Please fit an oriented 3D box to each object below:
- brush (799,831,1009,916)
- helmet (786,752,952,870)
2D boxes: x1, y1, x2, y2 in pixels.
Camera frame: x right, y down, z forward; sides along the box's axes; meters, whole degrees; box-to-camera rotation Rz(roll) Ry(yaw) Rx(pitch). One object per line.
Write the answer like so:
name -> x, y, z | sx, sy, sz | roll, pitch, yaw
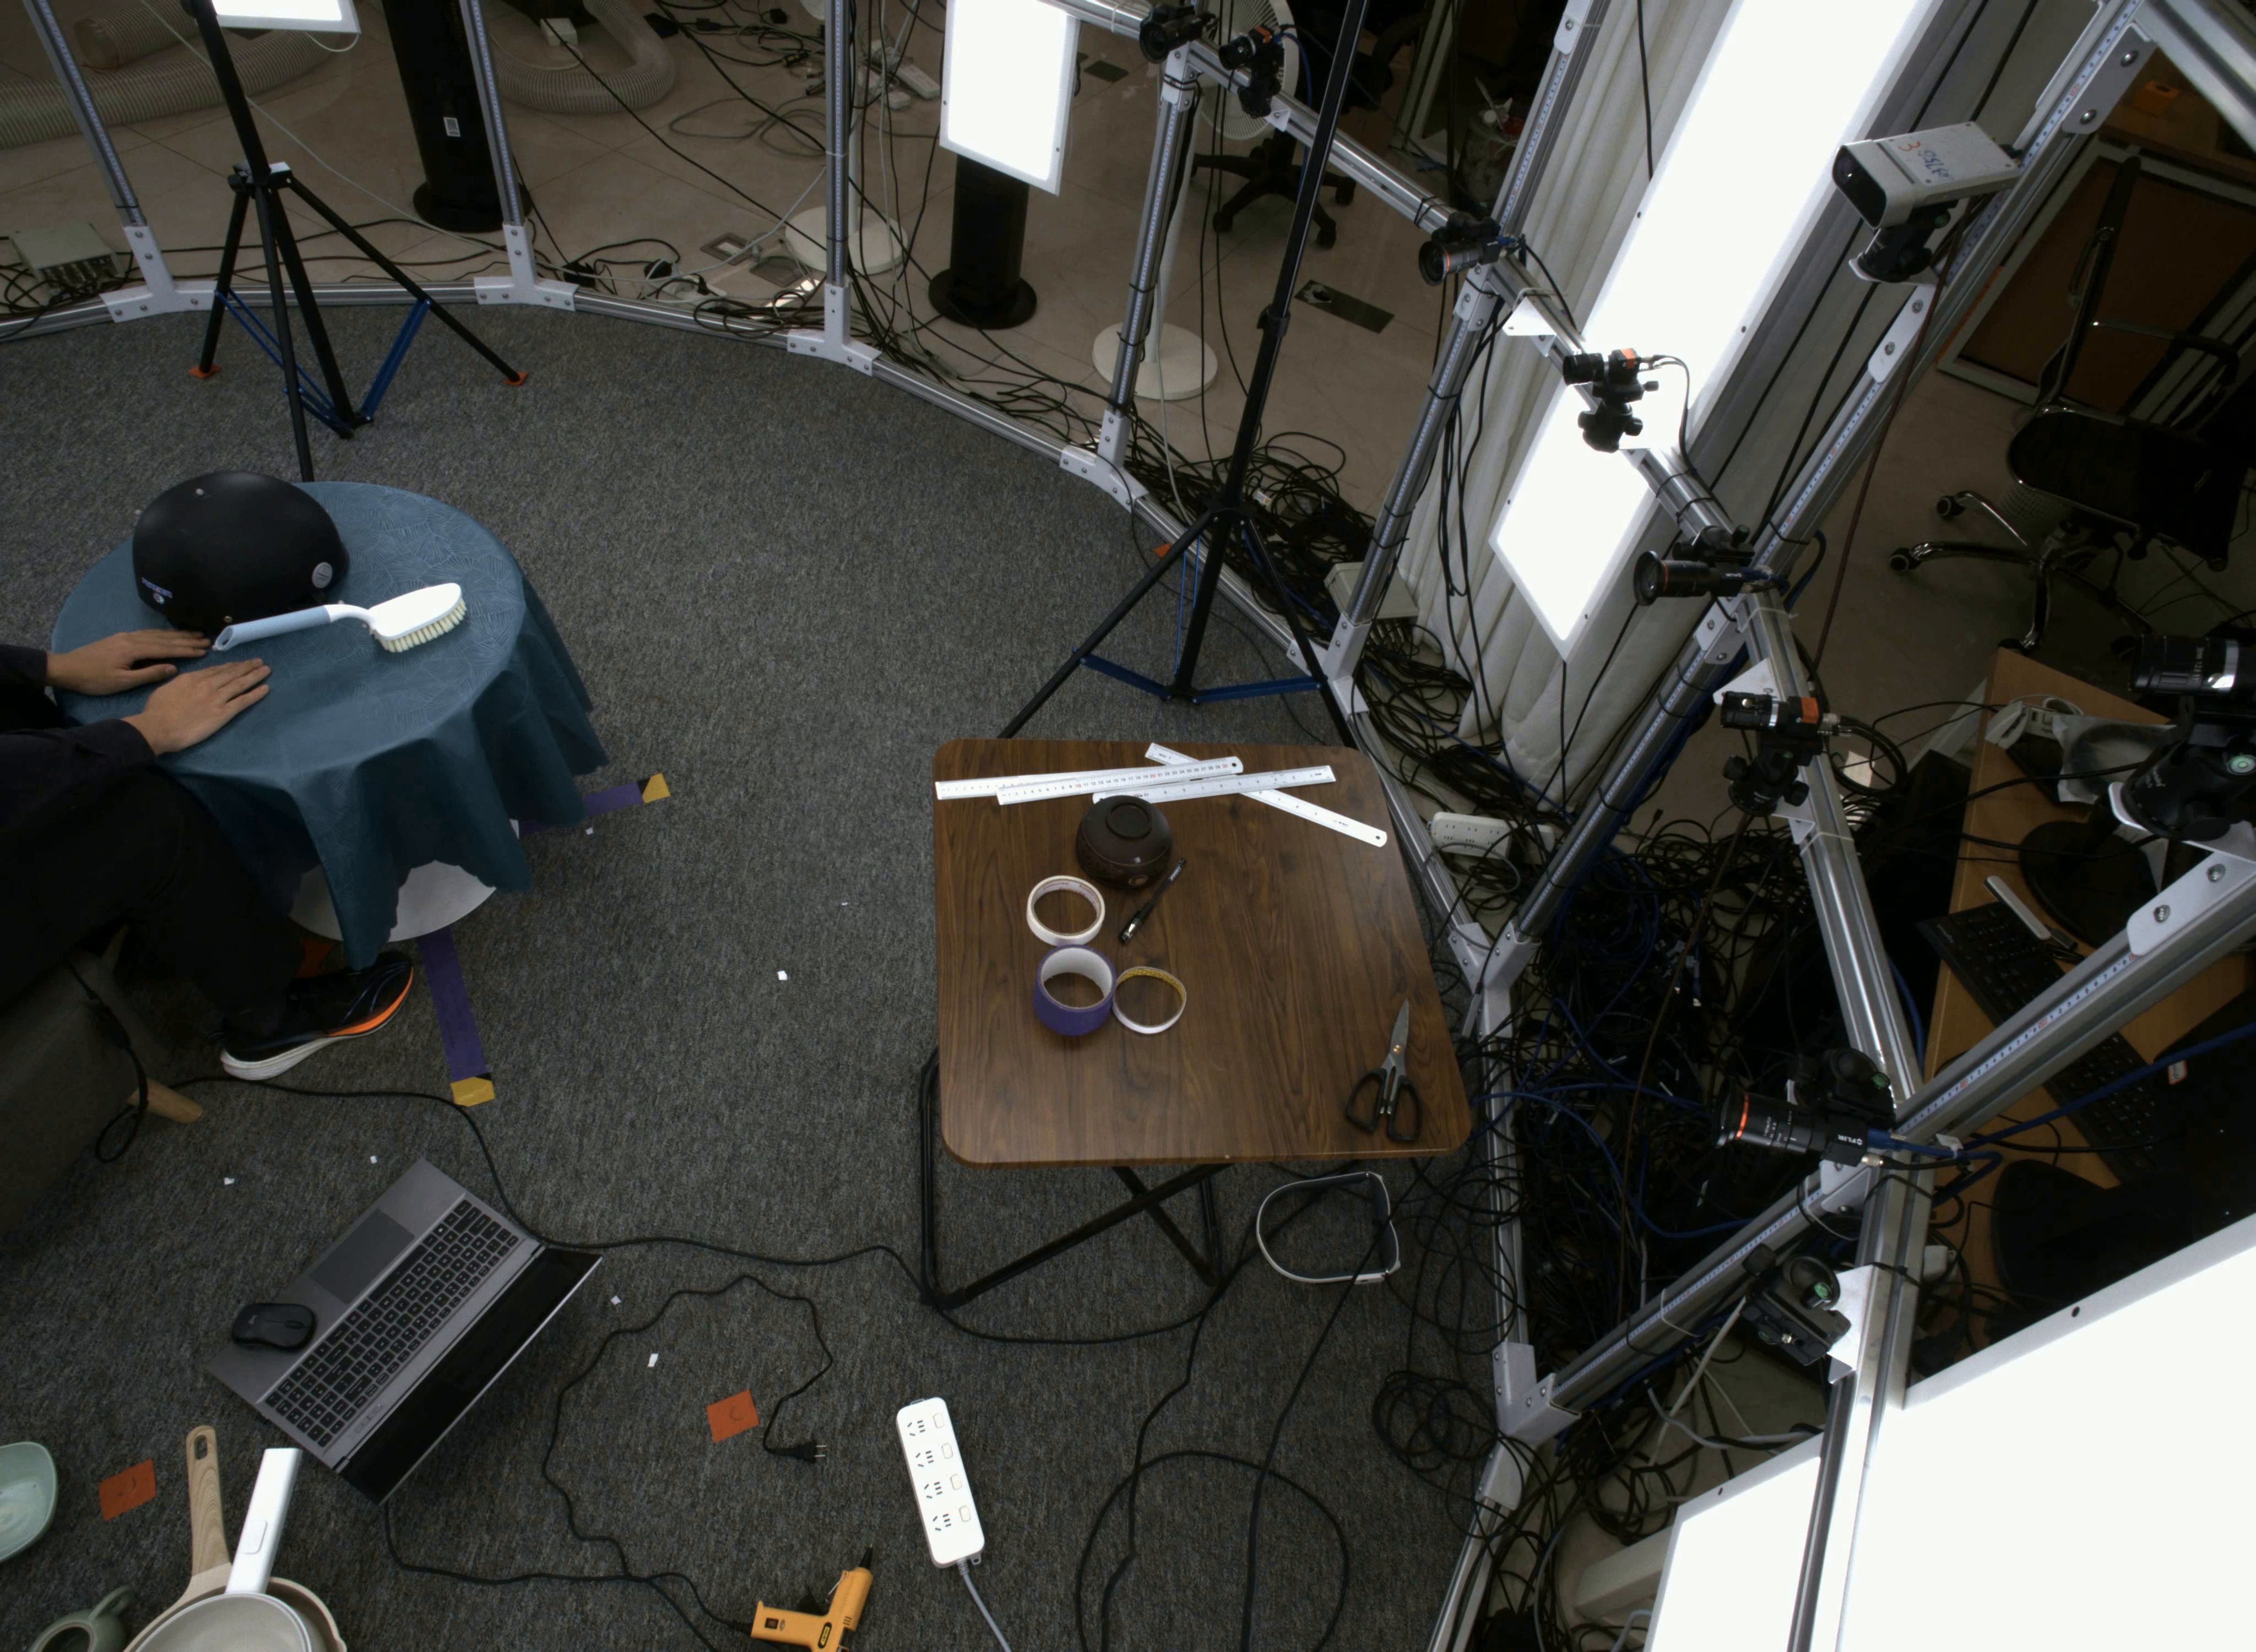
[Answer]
brush -> -0.338, 0.082, 1.960 | 0.329, 0.084, 0.082 | 12, -16, -19
helmet -> -0.415, -0.035, 2.112 | 0.276, 0.171, 0.221 | -4, 26, -29
